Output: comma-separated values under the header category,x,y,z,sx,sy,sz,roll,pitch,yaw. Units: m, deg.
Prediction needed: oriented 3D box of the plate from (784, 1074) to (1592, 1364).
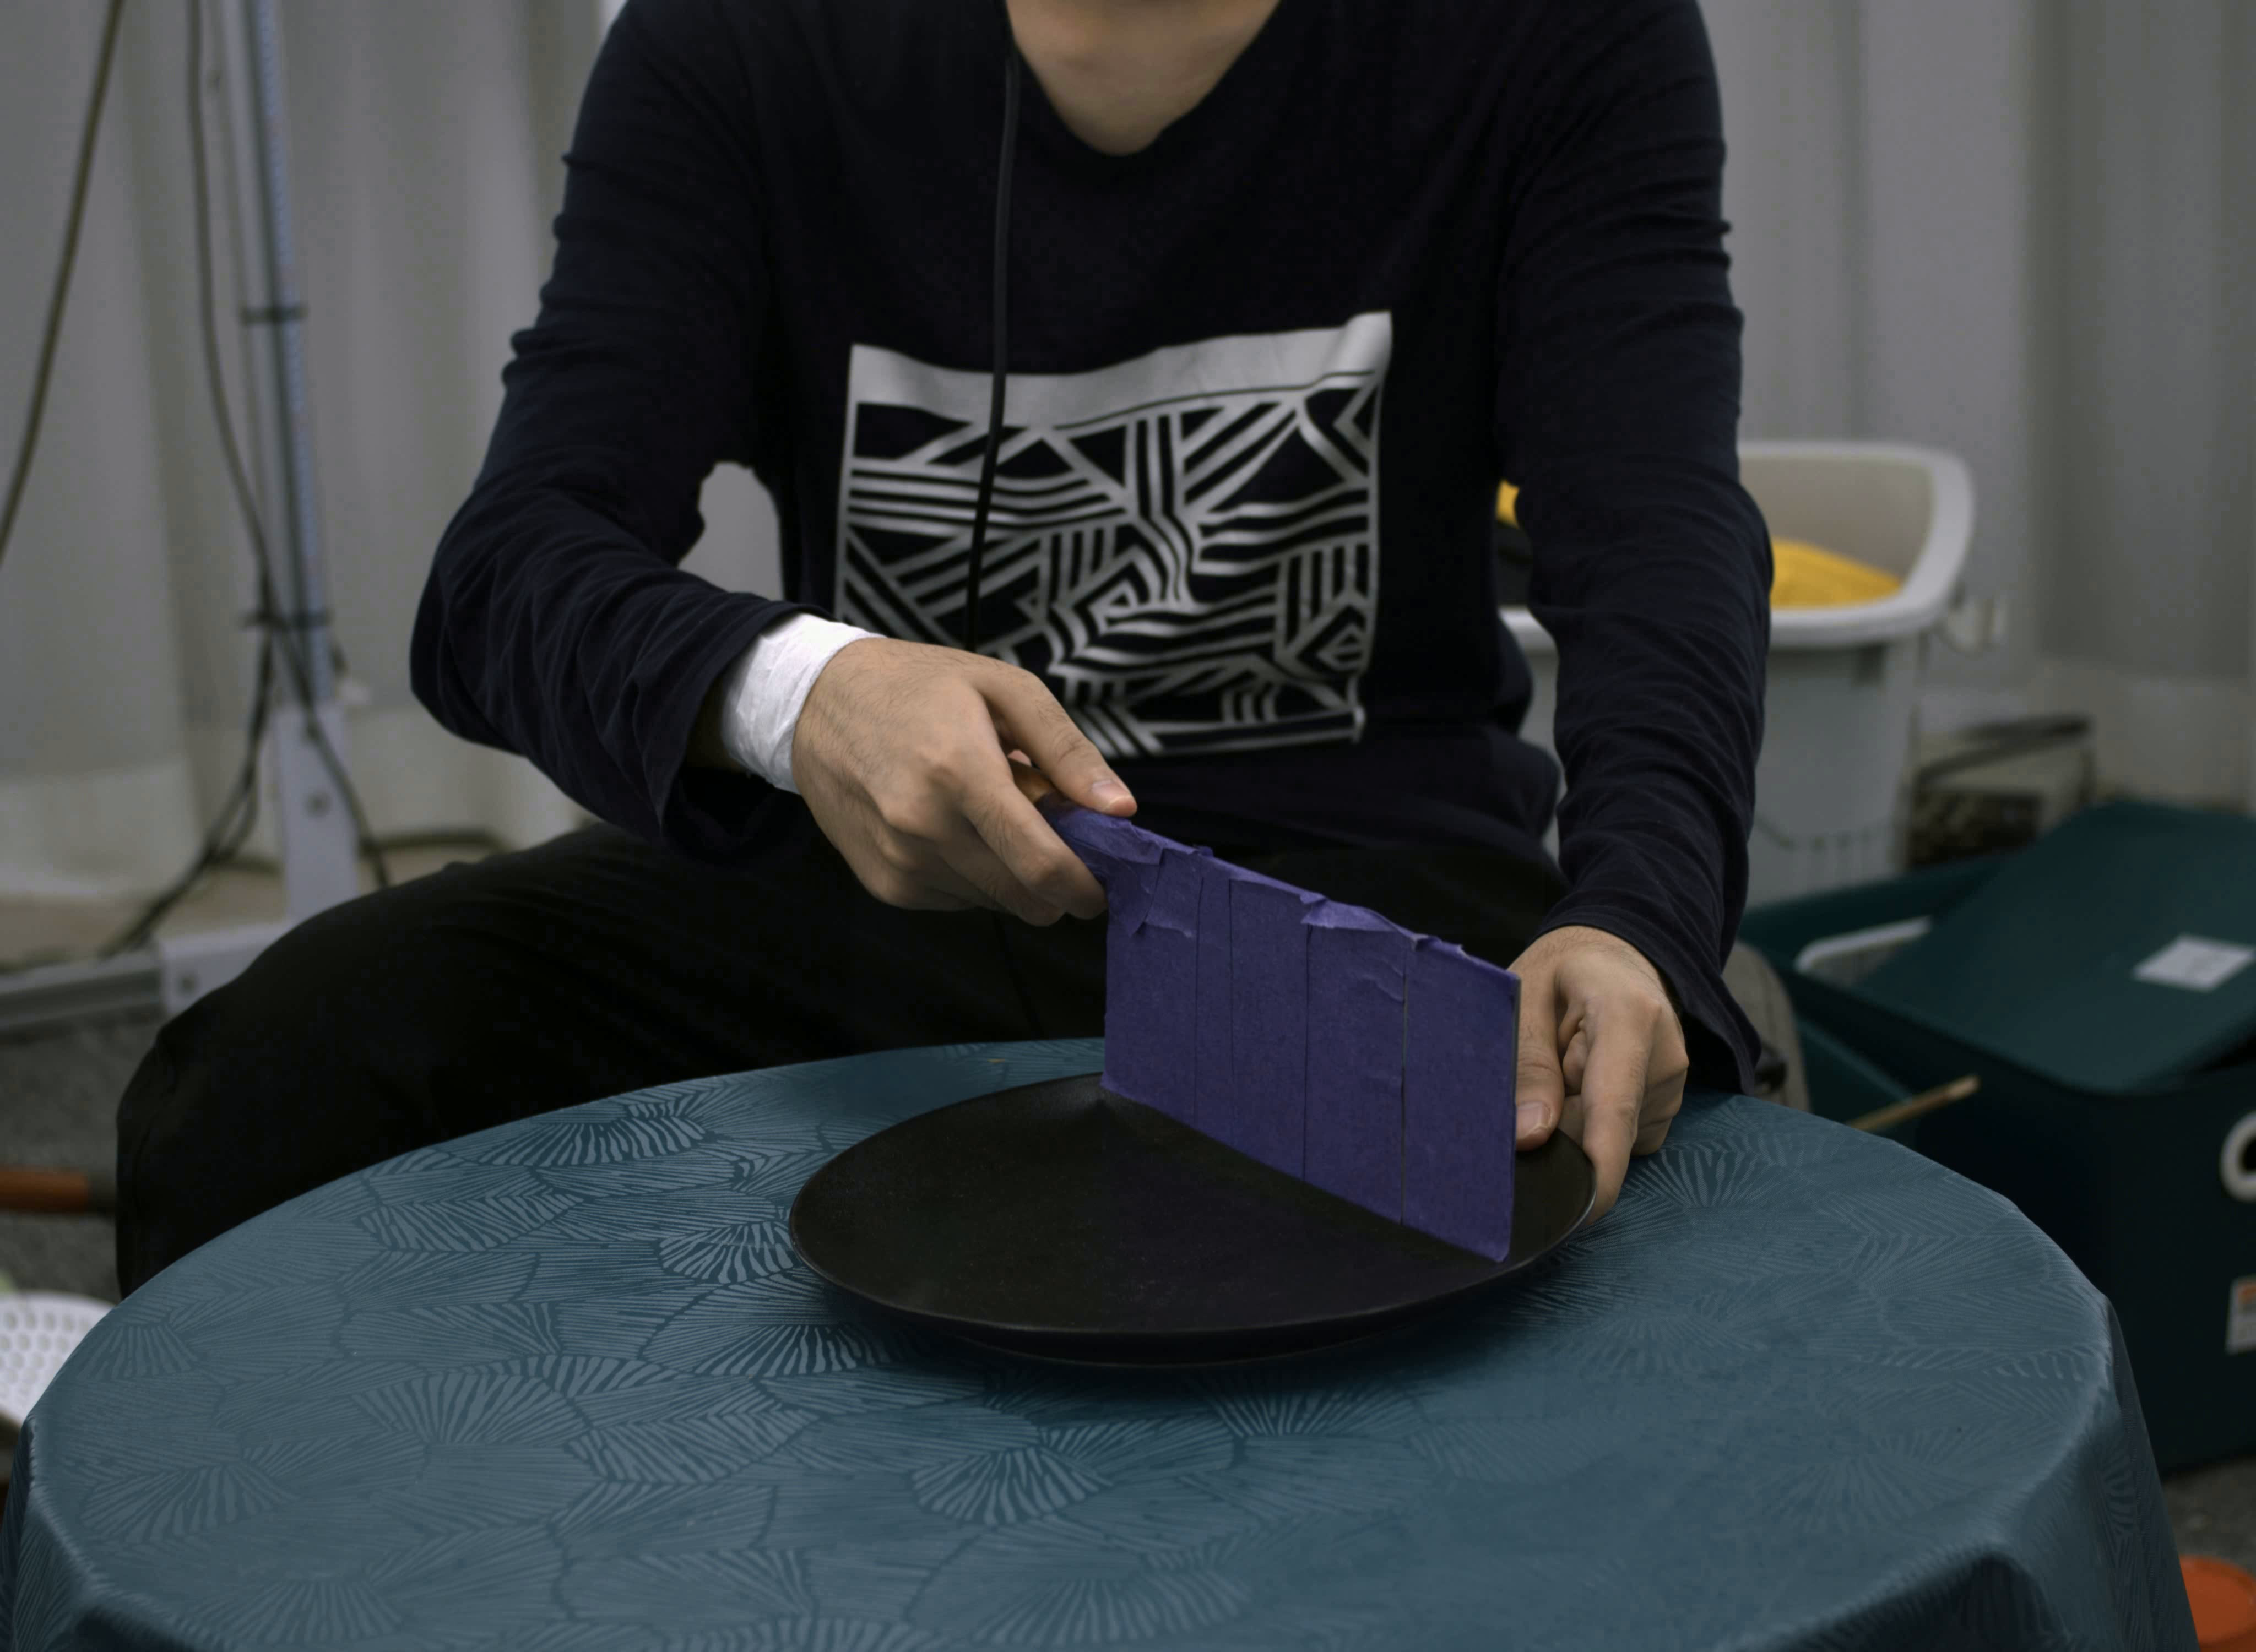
category,x,y,z,sx,sy,sz,roll,pitch,yaw
plate,0.018,0.120,1.646,0.243,0.023,0.246,-4,15,1

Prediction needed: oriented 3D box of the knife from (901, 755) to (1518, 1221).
category,x,y,z,sx,sy,sz,roll,pitch,yaw
knife,0.020,0.049,1.694,0.032,0.103,0.317,-5,14,-32
